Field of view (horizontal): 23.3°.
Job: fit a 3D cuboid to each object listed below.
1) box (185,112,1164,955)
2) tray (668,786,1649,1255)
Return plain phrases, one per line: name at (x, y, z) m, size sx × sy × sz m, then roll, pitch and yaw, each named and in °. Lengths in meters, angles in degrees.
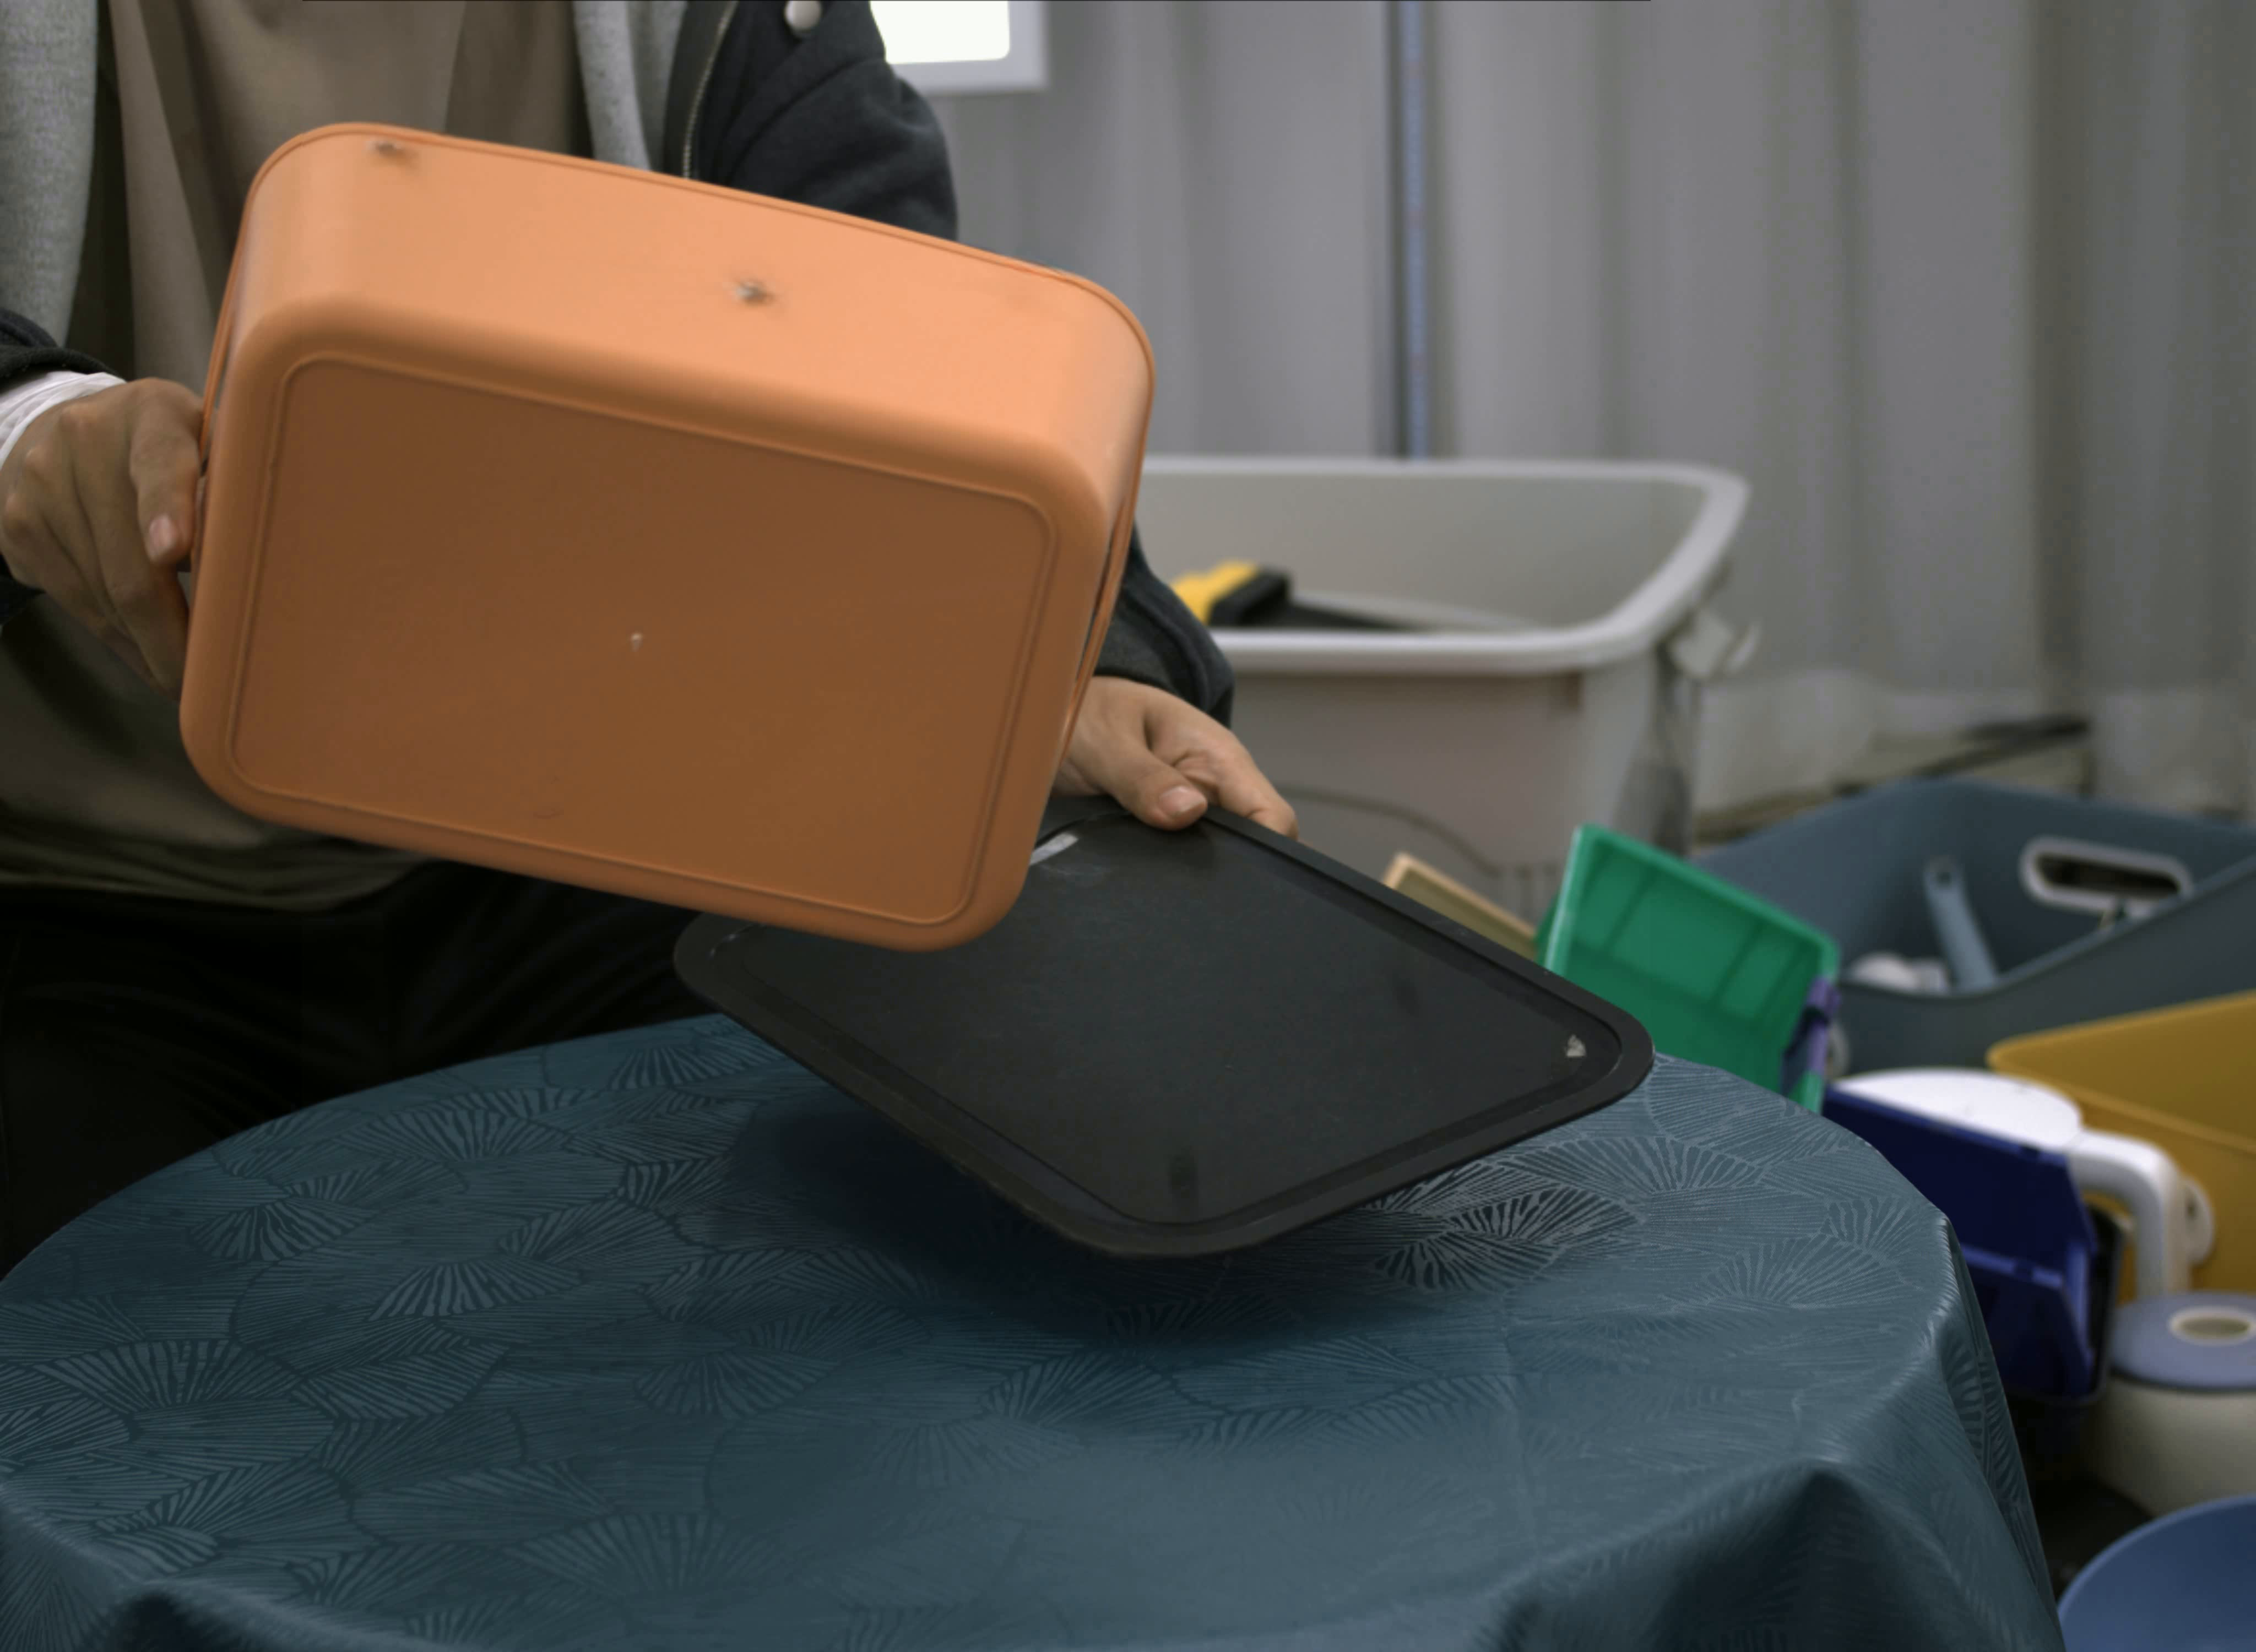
box at (-0.135, -0.076, 1.578) m, size 0.272 × 0.198 × 0.104 m, roll 13°, pitch 29°, yaw -5°
tray at (-0.001, 0.052, 1.724) m, size 0.211 × 0.010 × 0.328 m, roll -19°, pitch 28°, yaw -29°
